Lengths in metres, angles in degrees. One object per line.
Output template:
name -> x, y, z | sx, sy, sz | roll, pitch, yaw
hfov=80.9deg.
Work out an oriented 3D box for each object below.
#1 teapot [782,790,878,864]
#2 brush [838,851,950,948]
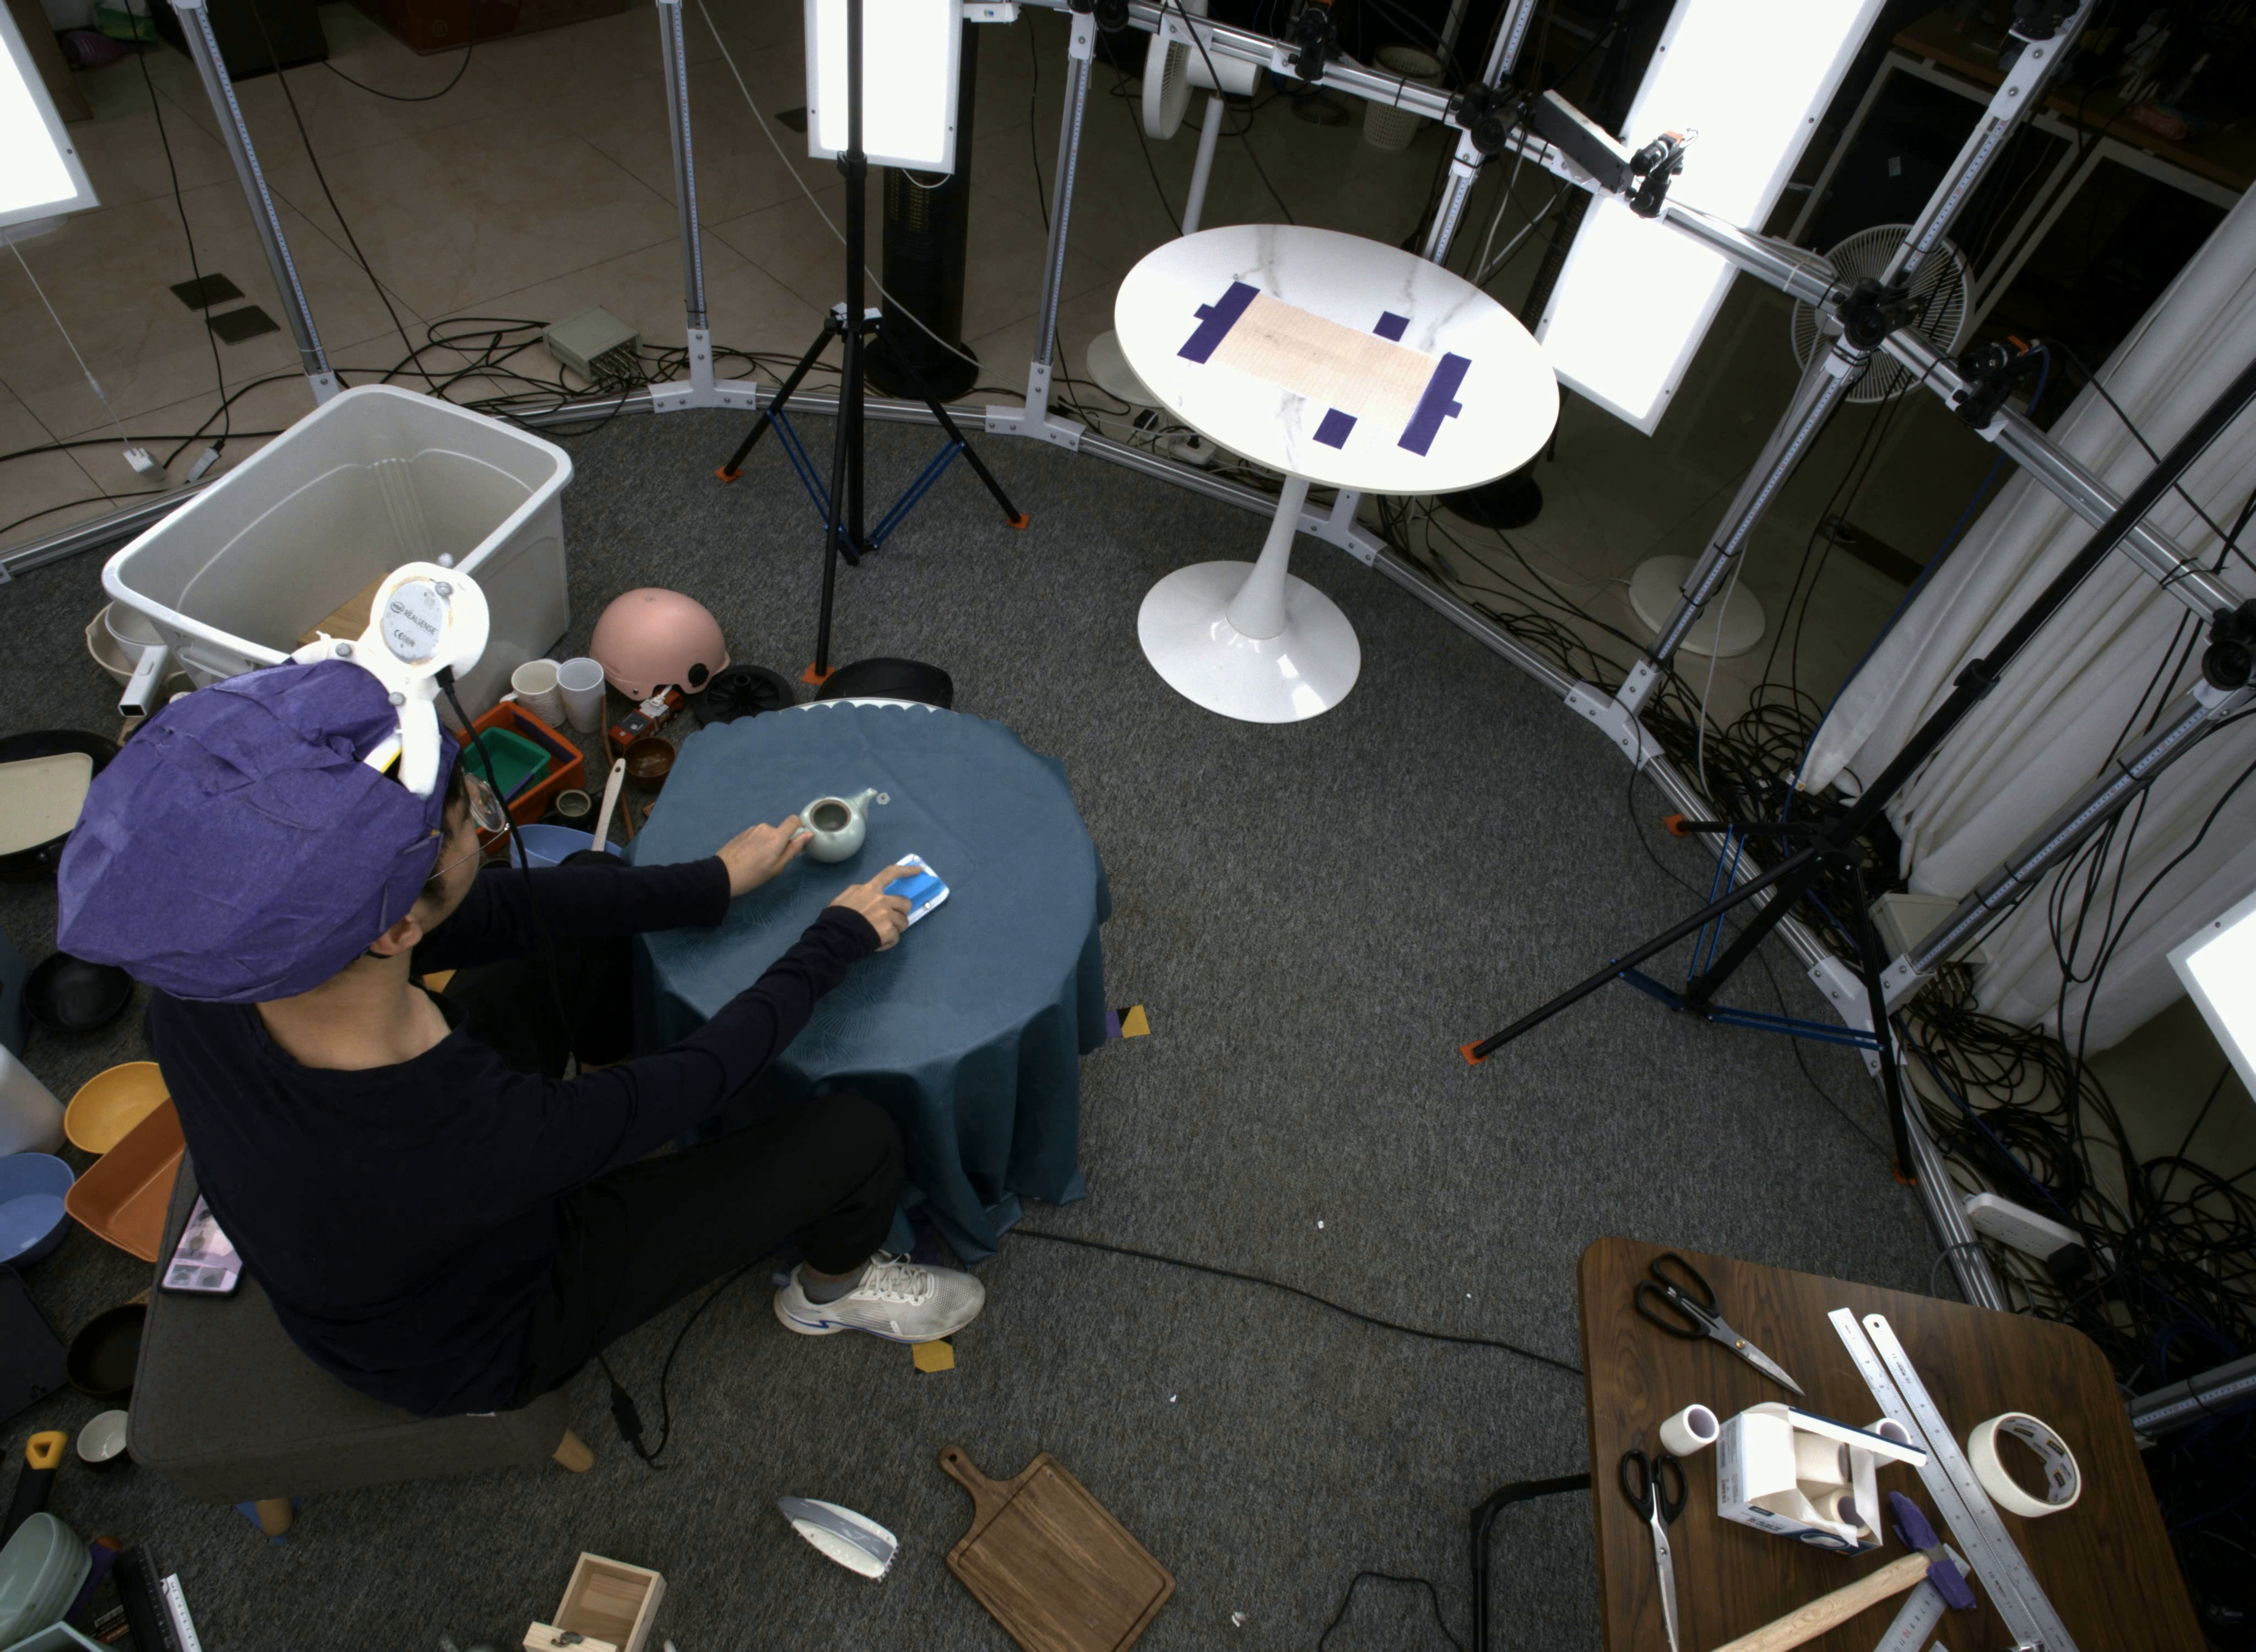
teapot -> -0.386, 0.004, 1.685 | 0.144, 0.076, 0.086 | -28, 64, -33
brush -> -0.294, 0.084, 1.641 | 0.082, 0.057, 0.144 | 35, 51, 14
